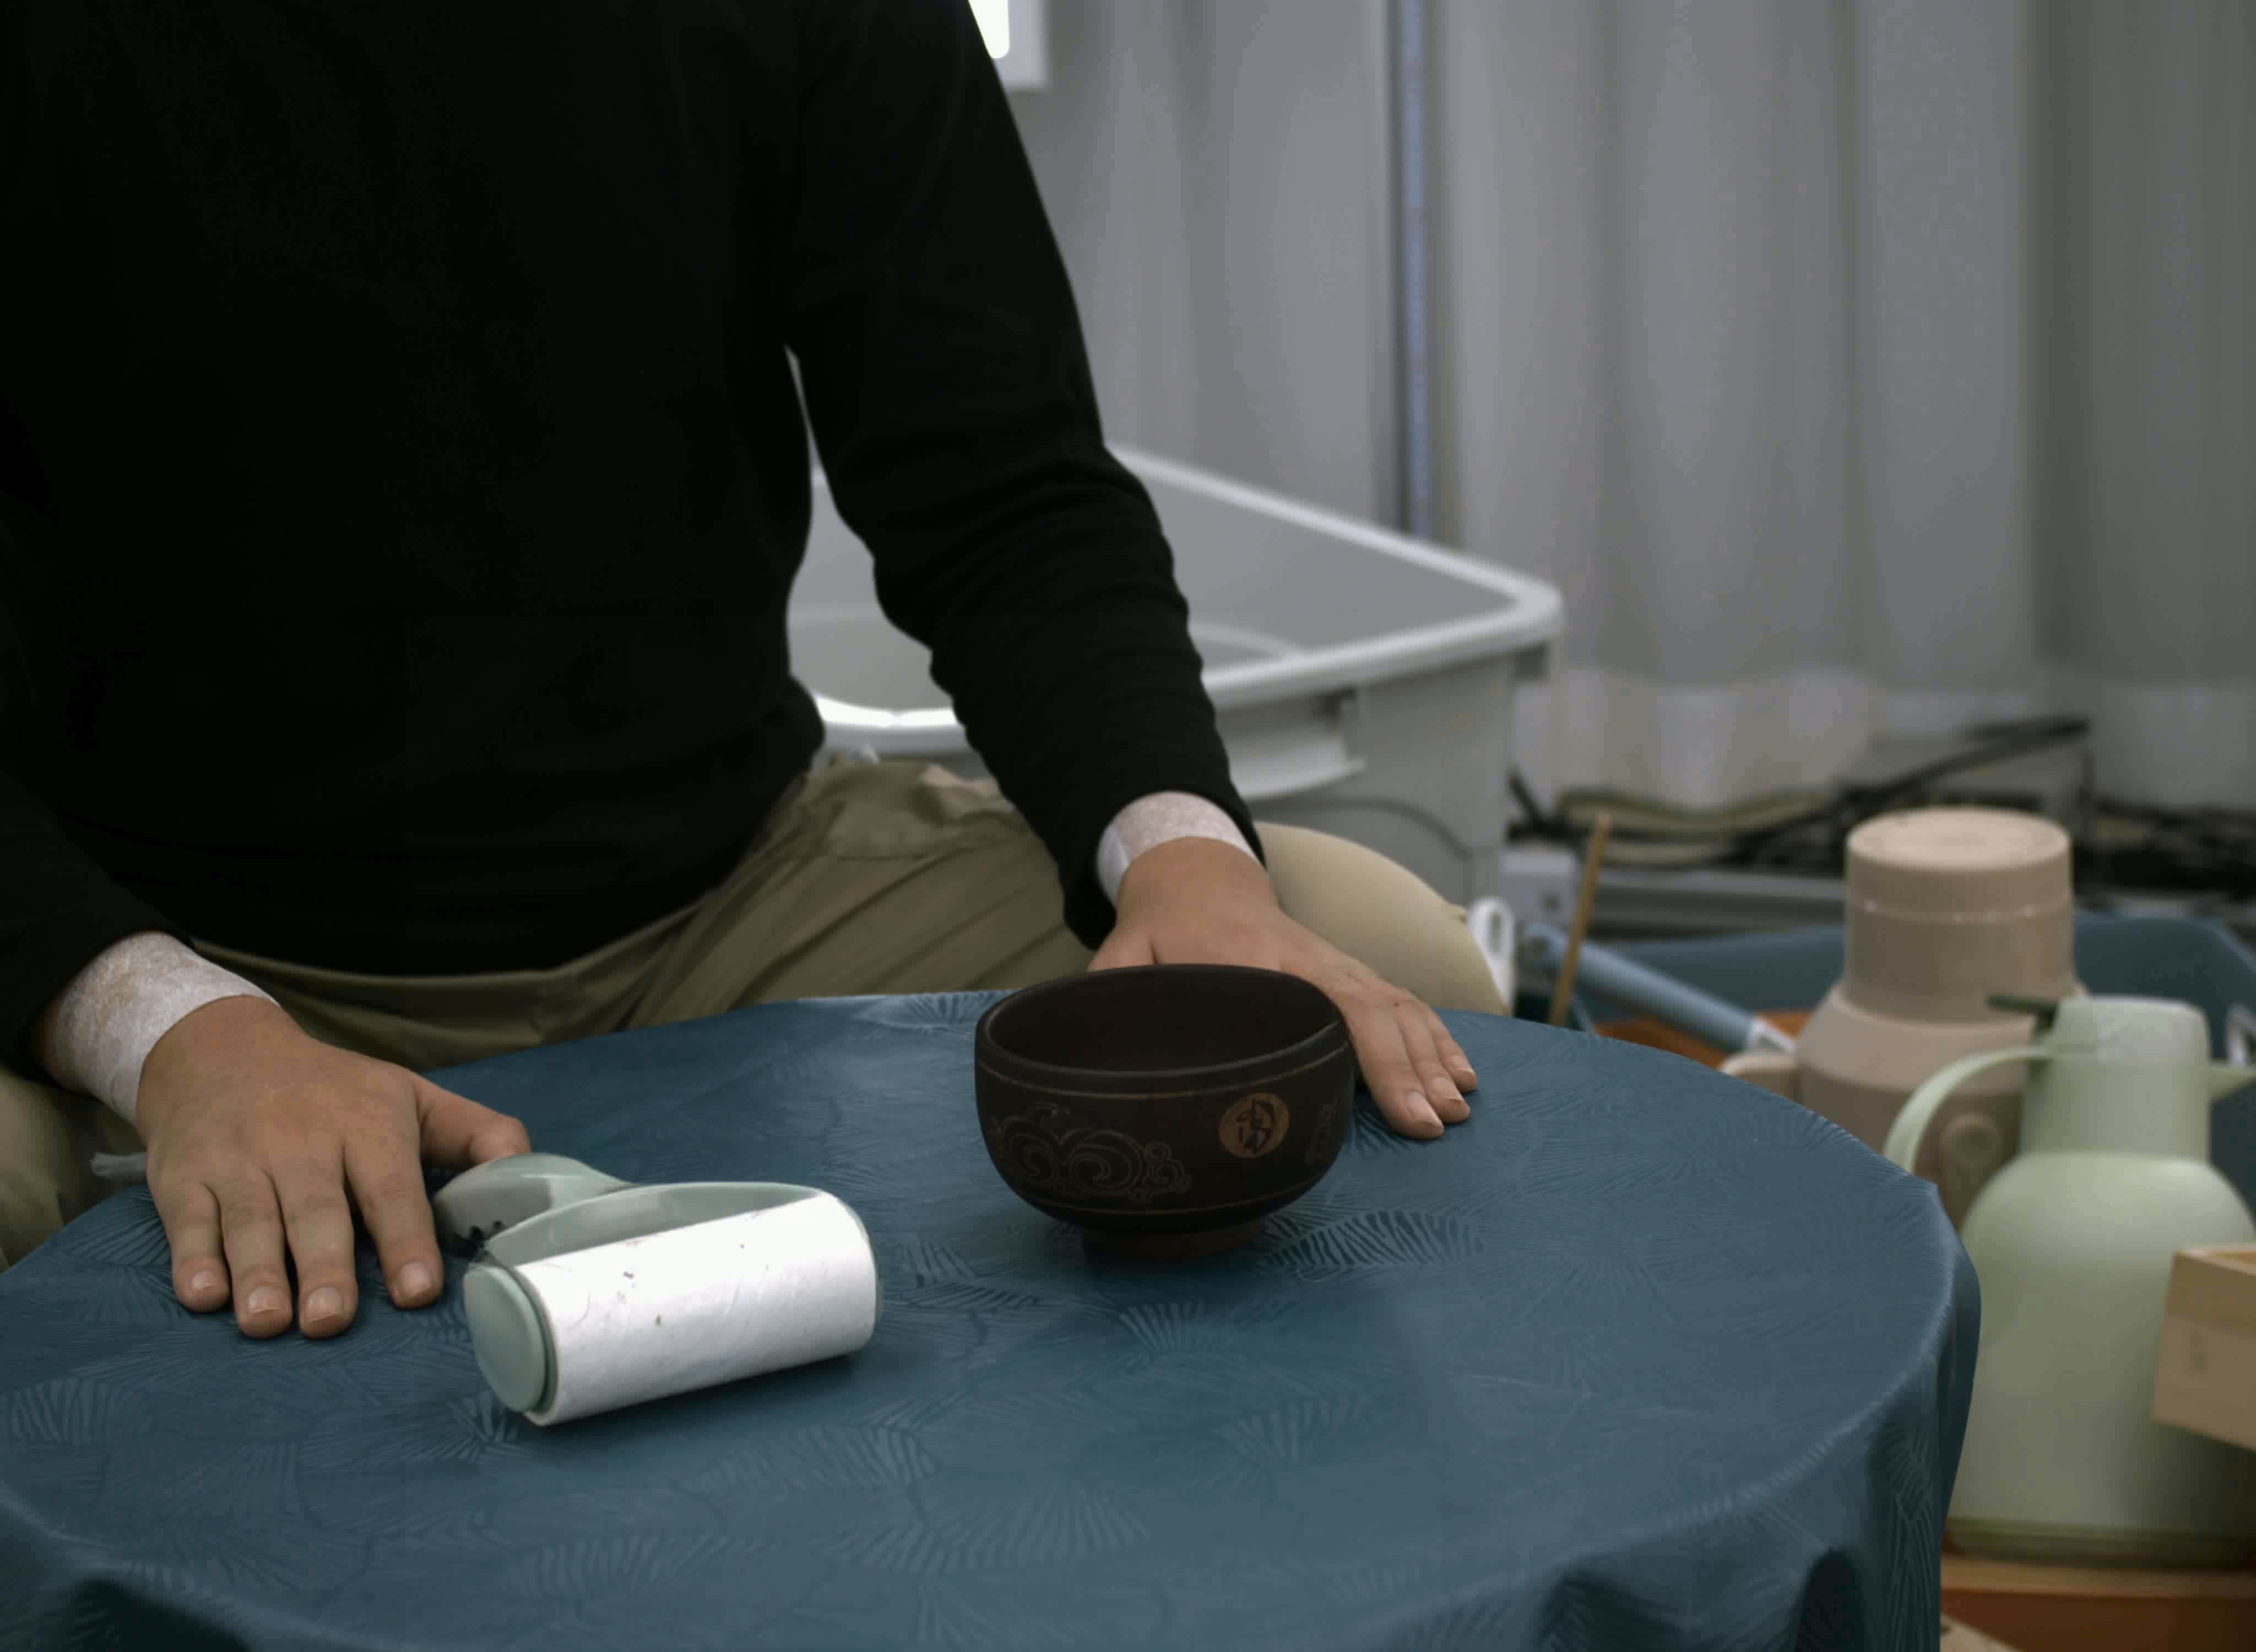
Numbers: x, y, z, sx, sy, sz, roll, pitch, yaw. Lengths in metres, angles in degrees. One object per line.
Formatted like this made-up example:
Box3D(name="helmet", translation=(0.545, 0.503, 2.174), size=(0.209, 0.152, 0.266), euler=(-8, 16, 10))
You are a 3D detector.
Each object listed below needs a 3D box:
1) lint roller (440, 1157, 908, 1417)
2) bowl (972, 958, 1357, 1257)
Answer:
Box3D(name="lint roller", translation=(-0.156, 0.123, 1.625), size=(0.116, 0.048, 0.199), euler=(-12, 15, -28))
Box3D(name="bowl", translation=(0.012, 0.090, 1.668), size=(0.117, 0.069, 0.119), euler=(-4, 14, 1))
